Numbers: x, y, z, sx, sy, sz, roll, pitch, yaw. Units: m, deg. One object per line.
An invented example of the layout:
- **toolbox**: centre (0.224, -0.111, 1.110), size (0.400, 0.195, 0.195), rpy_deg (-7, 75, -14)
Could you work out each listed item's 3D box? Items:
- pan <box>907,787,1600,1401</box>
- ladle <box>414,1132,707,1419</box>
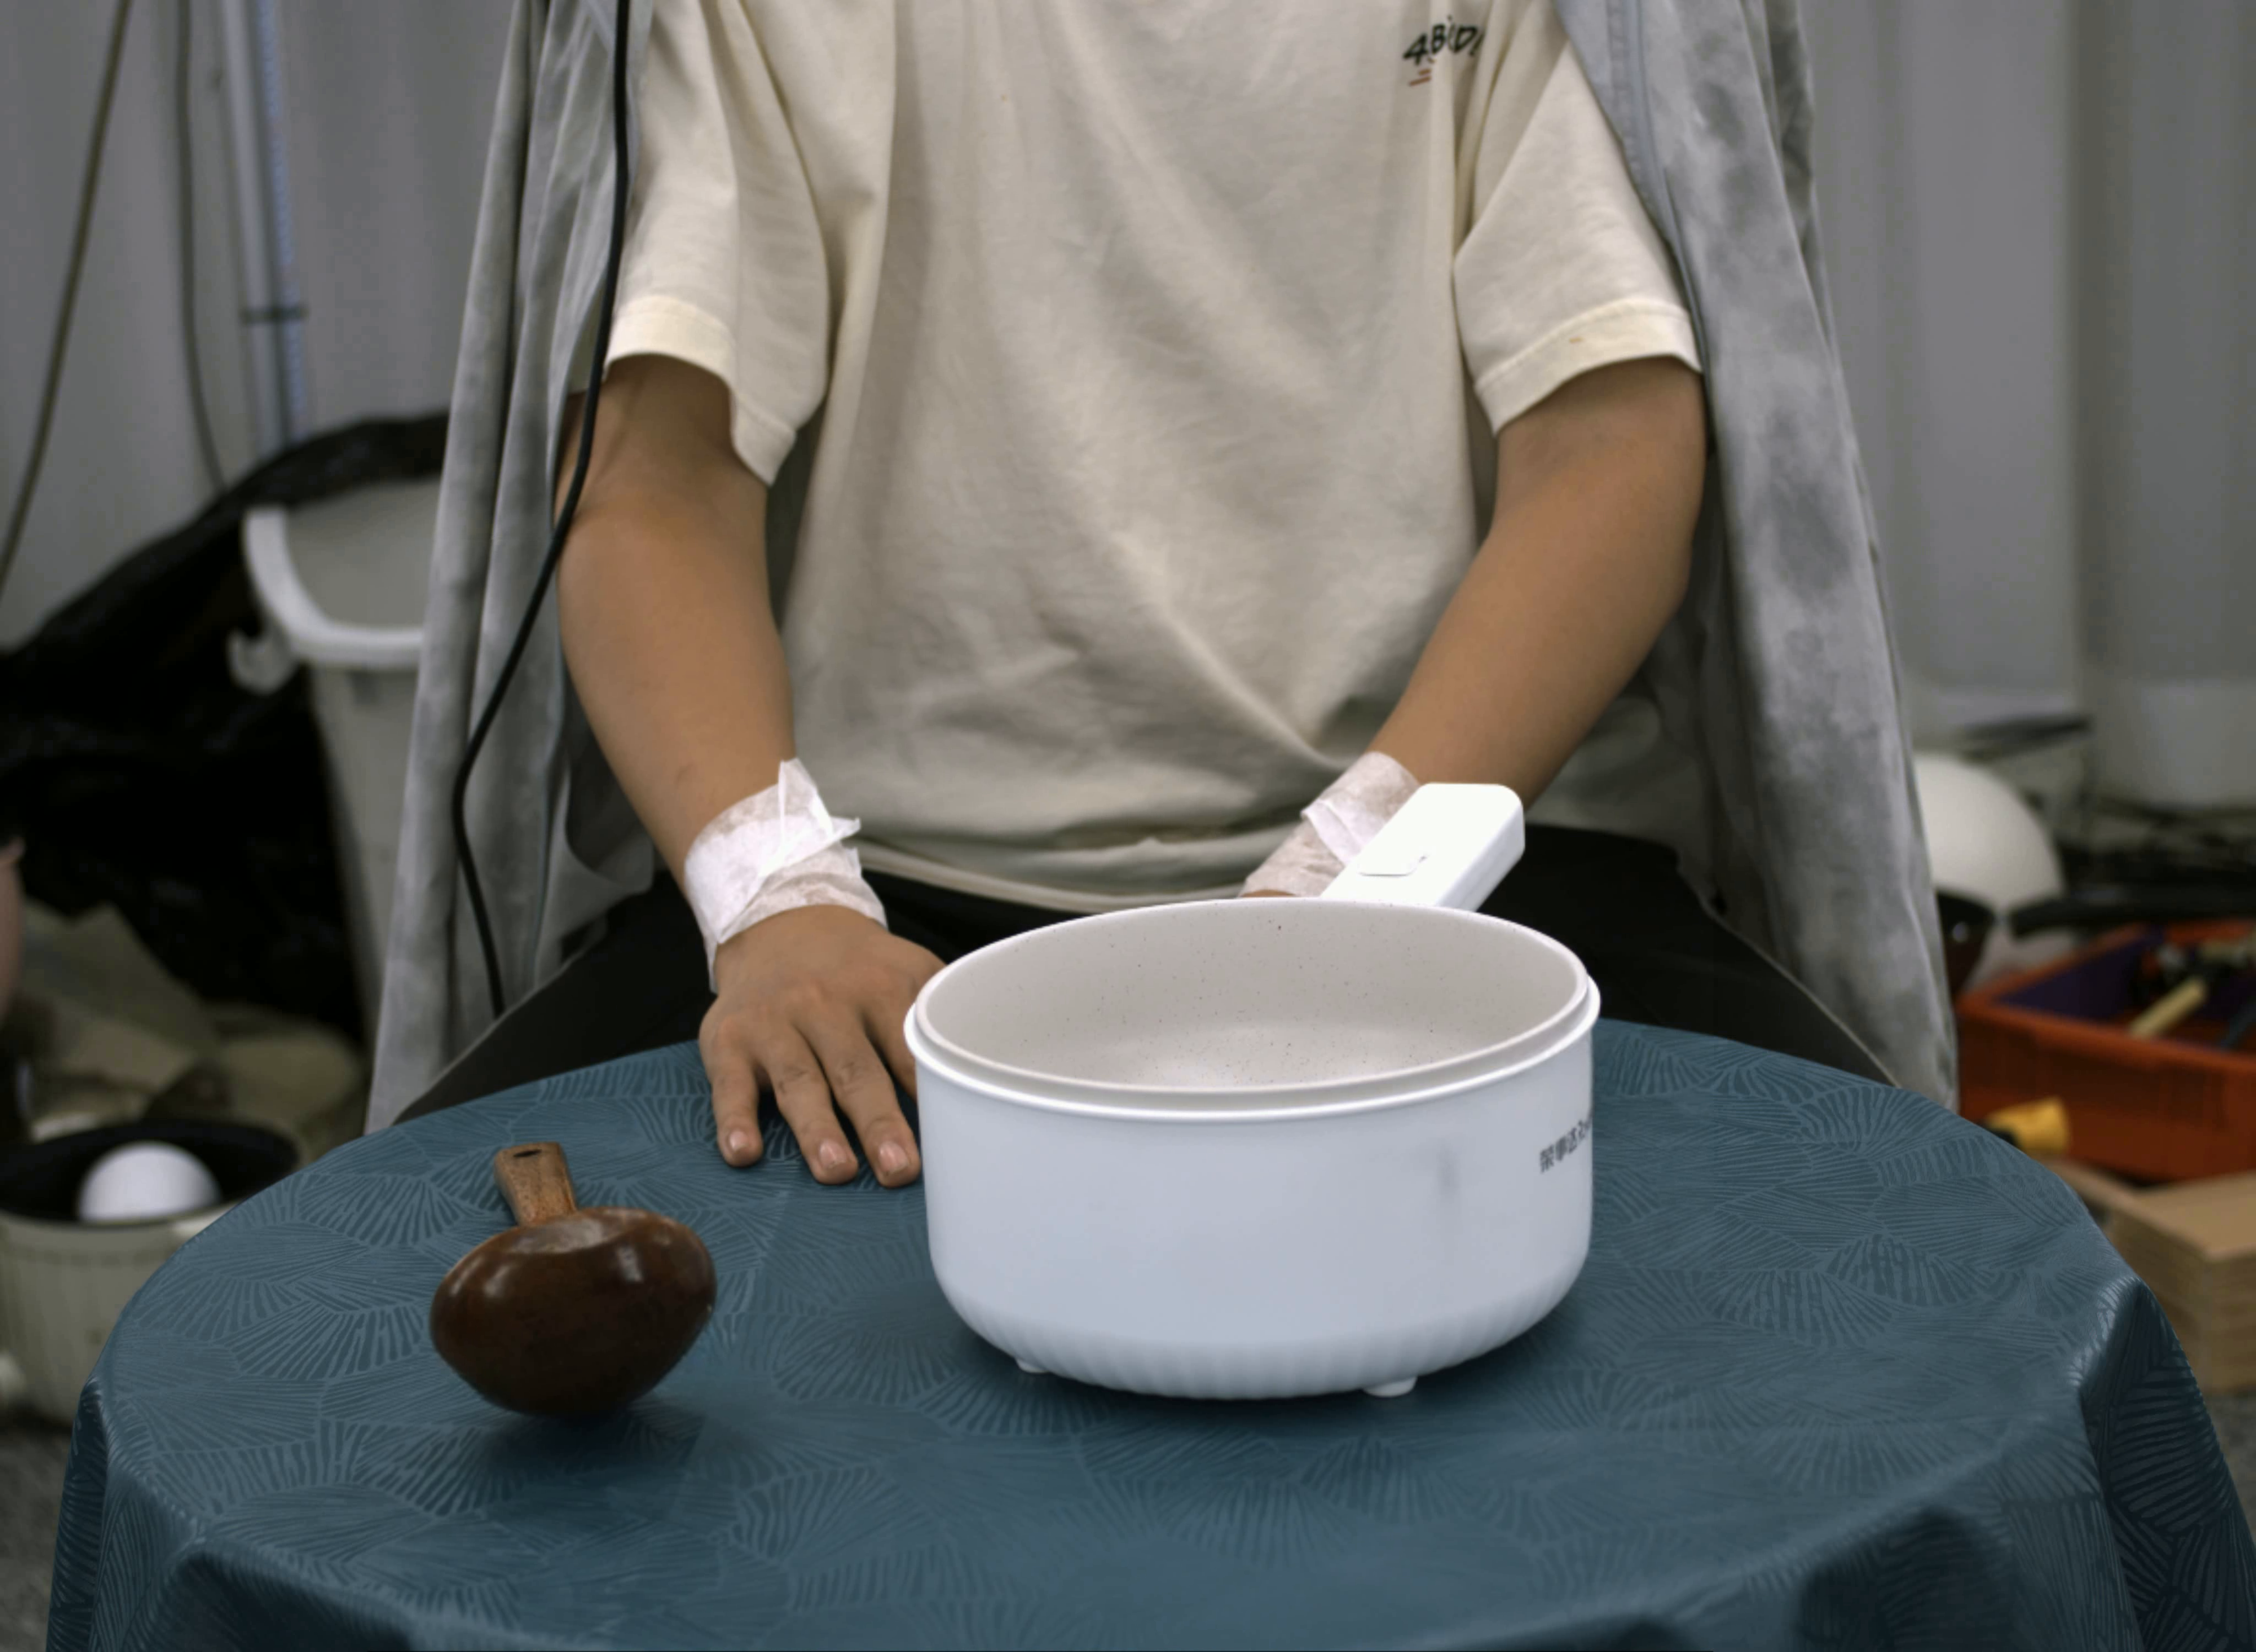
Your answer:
- **pan**: centre (0.062, 0.077, 1.661), size (0.201, 0.102, 0.356), rpy_deg (1, 15, 19)
- **ladle**: centre (-0.171, 0.109, 1.621), size (0.081, 0.076, 0.276), rpy_deg (-5, 16, -6)
